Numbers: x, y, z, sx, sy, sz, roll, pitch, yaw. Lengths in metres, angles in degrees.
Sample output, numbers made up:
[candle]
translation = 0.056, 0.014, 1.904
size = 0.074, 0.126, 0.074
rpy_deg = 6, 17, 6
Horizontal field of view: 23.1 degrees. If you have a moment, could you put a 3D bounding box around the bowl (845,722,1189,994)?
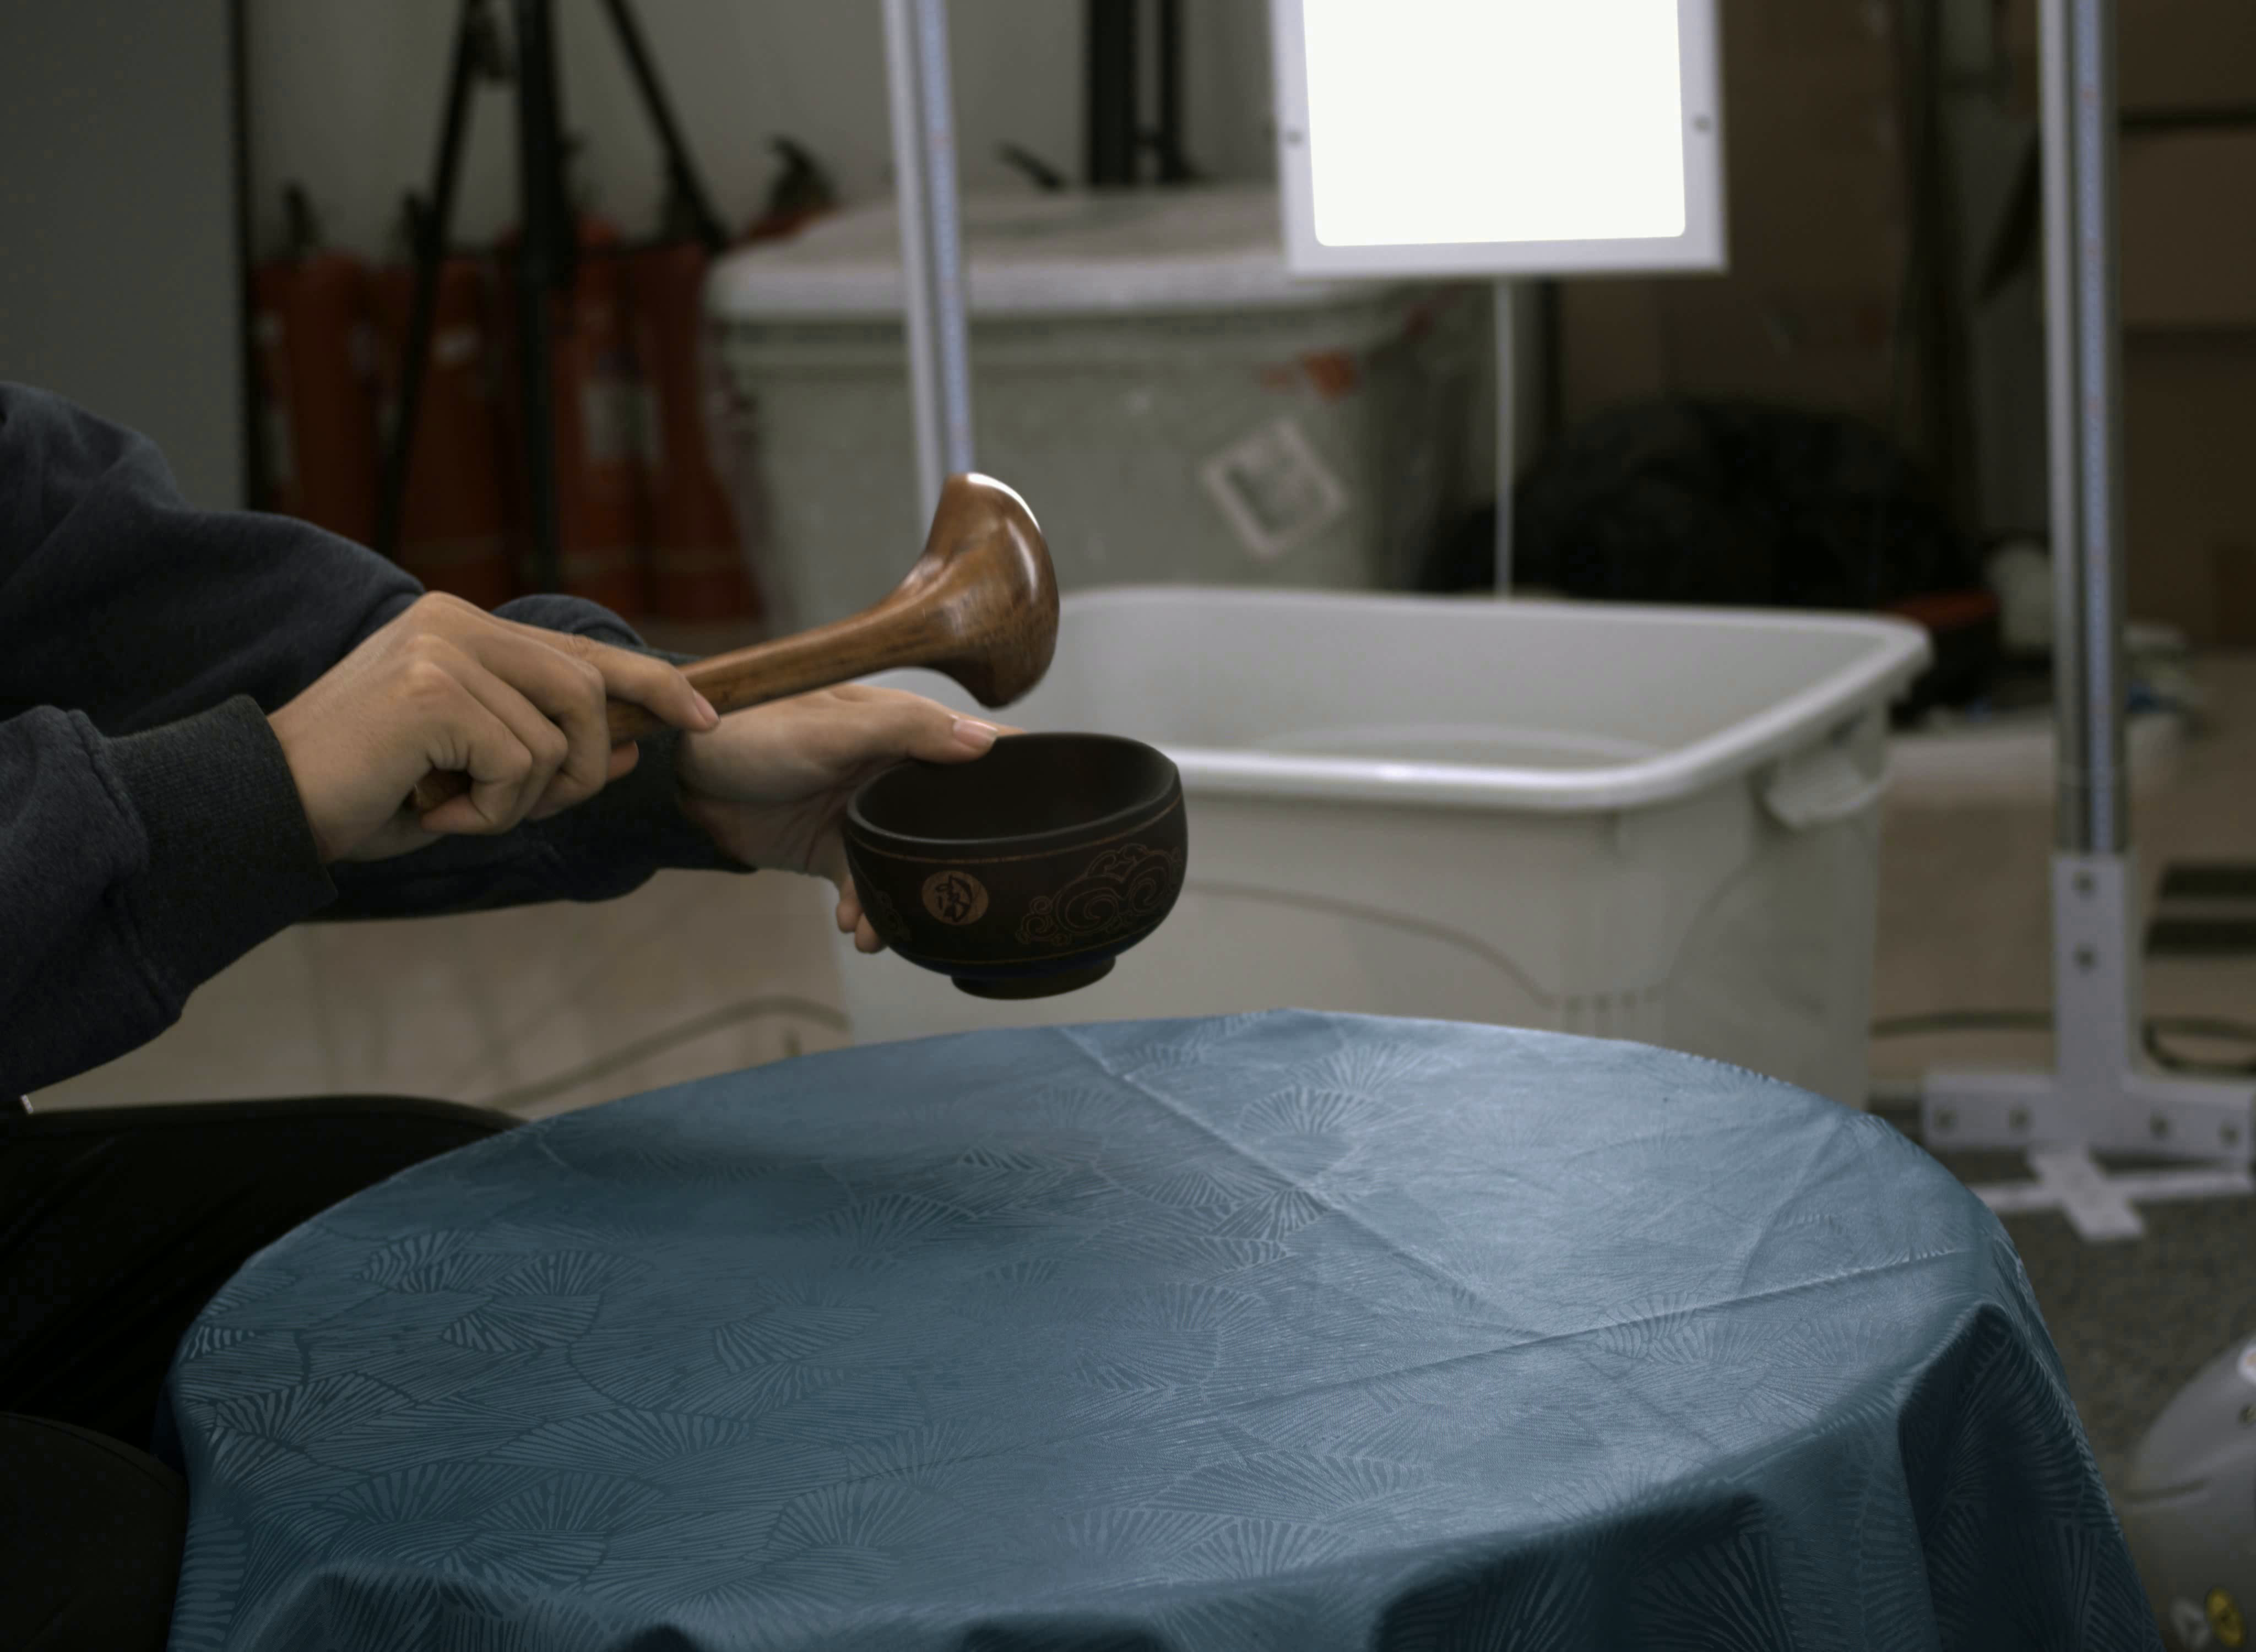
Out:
[bowl]
translation = -0.036, 0.015, 1.896
size = 0.118, 0.070, 0.118
rpy_deg = -7, 19, 1

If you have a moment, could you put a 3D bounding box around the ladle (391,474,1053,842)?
[ladle]
translation = -0.134, -0.049, 1.800
size = 0.268, 0.082, 0.078
rpy_deg = -19, 11, -29
